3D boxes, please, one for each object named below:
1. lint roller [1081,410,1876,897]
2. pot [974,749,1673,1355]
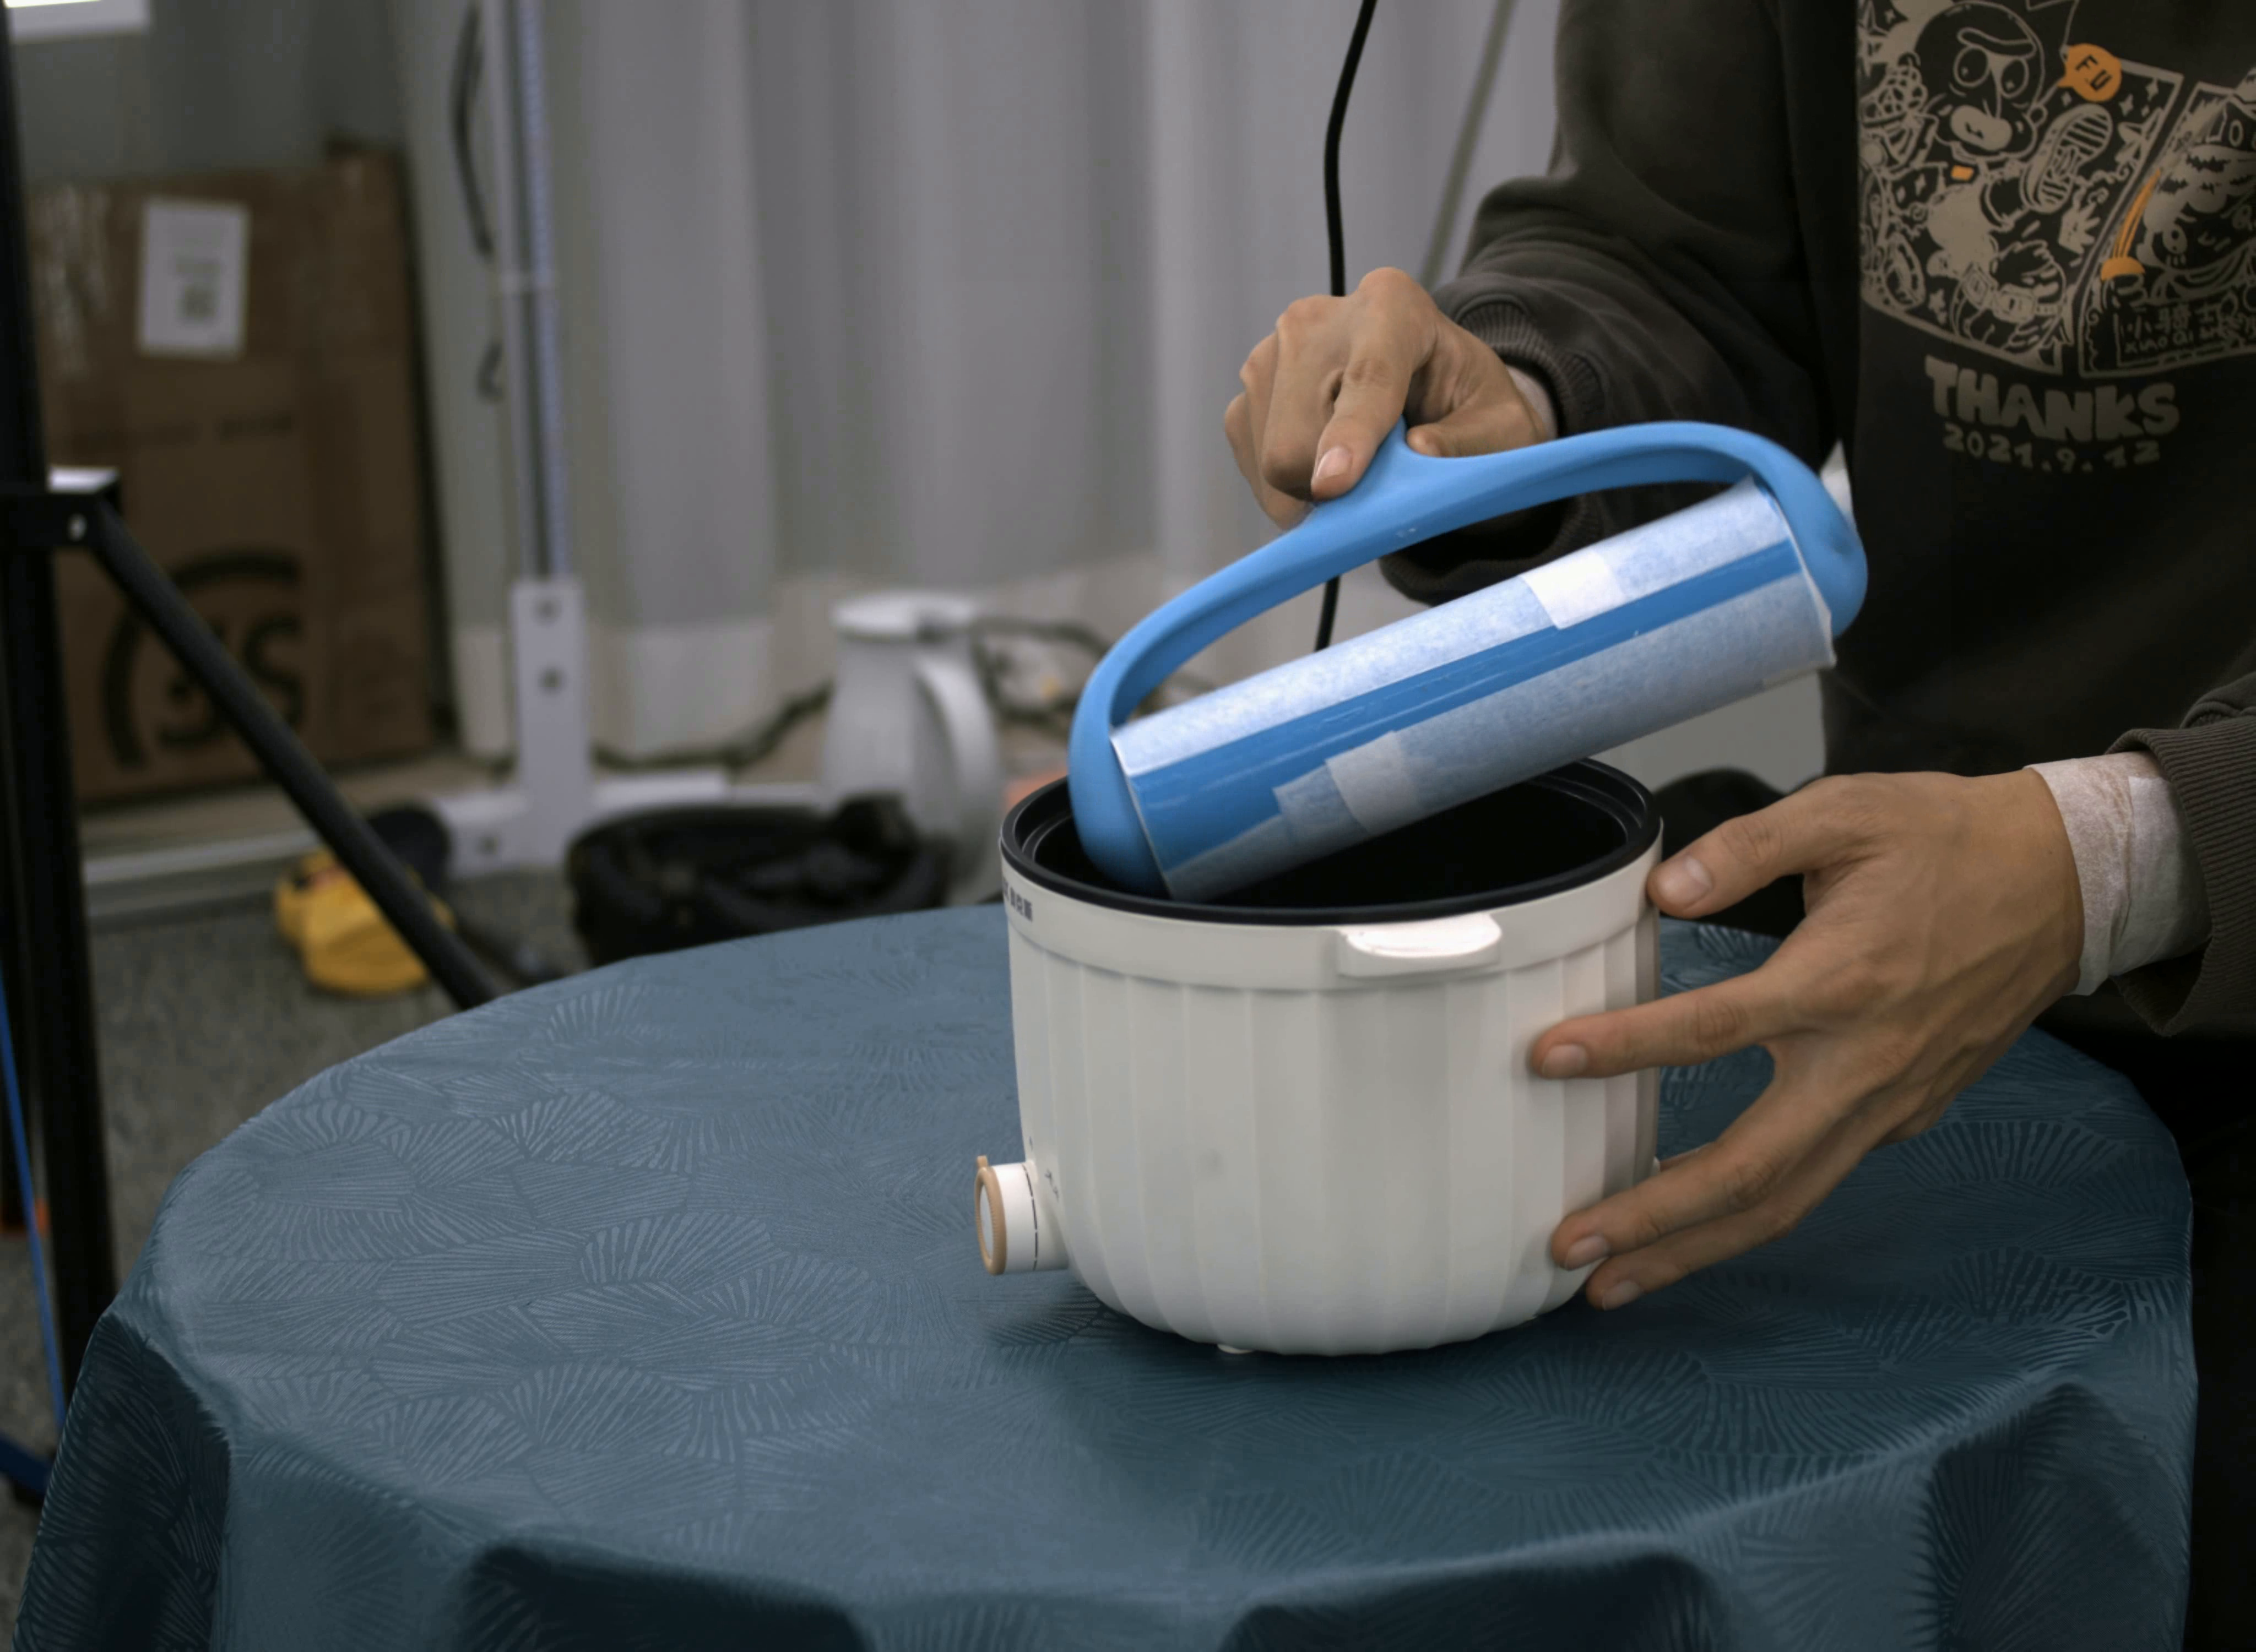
[{"bbox_3d":[0.081,-0.074,1.501,0.228,0.067,0.183,-25,41,3],"label":"lint roller"},{"bbox_3d":[0.053,0.062,1.462,0.188,0.143,0.243,-3,14,-12],"label":"pot"}]
